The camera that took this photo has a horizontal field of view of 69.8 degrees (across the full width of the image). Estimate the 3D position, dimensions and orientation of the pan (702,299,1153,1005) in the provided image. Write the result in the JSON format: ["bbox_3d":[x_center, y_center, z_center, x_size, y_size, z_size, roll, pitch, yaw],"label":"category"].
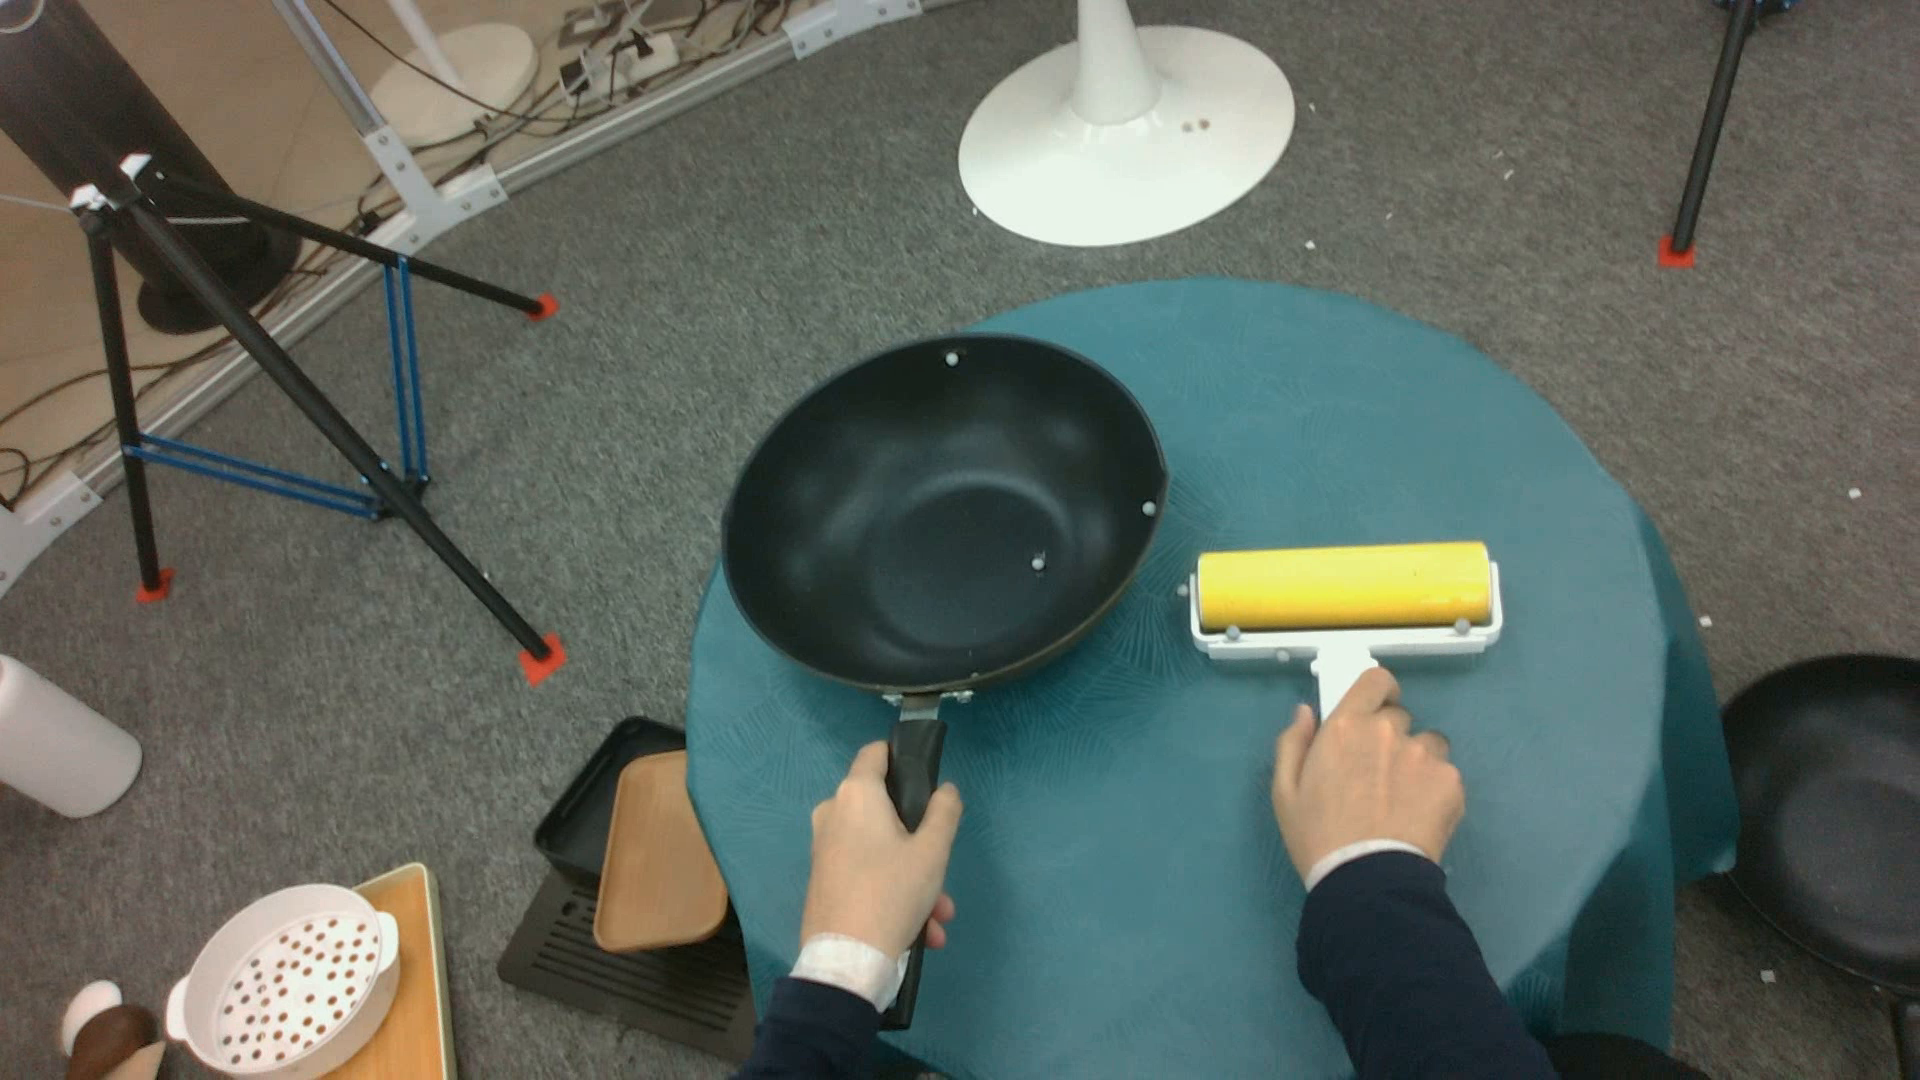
[{"bbox_3d":[-0.021,0.052,0.827,0.288,0.086,0.465,-5,55,12],"label":"pan"}]

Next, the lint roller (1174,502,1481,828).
[{"bbox_3d":[0.210,0.064,0.772,0.174,0.051,0.193,-4,49,13],"label":"lint roller"}]
